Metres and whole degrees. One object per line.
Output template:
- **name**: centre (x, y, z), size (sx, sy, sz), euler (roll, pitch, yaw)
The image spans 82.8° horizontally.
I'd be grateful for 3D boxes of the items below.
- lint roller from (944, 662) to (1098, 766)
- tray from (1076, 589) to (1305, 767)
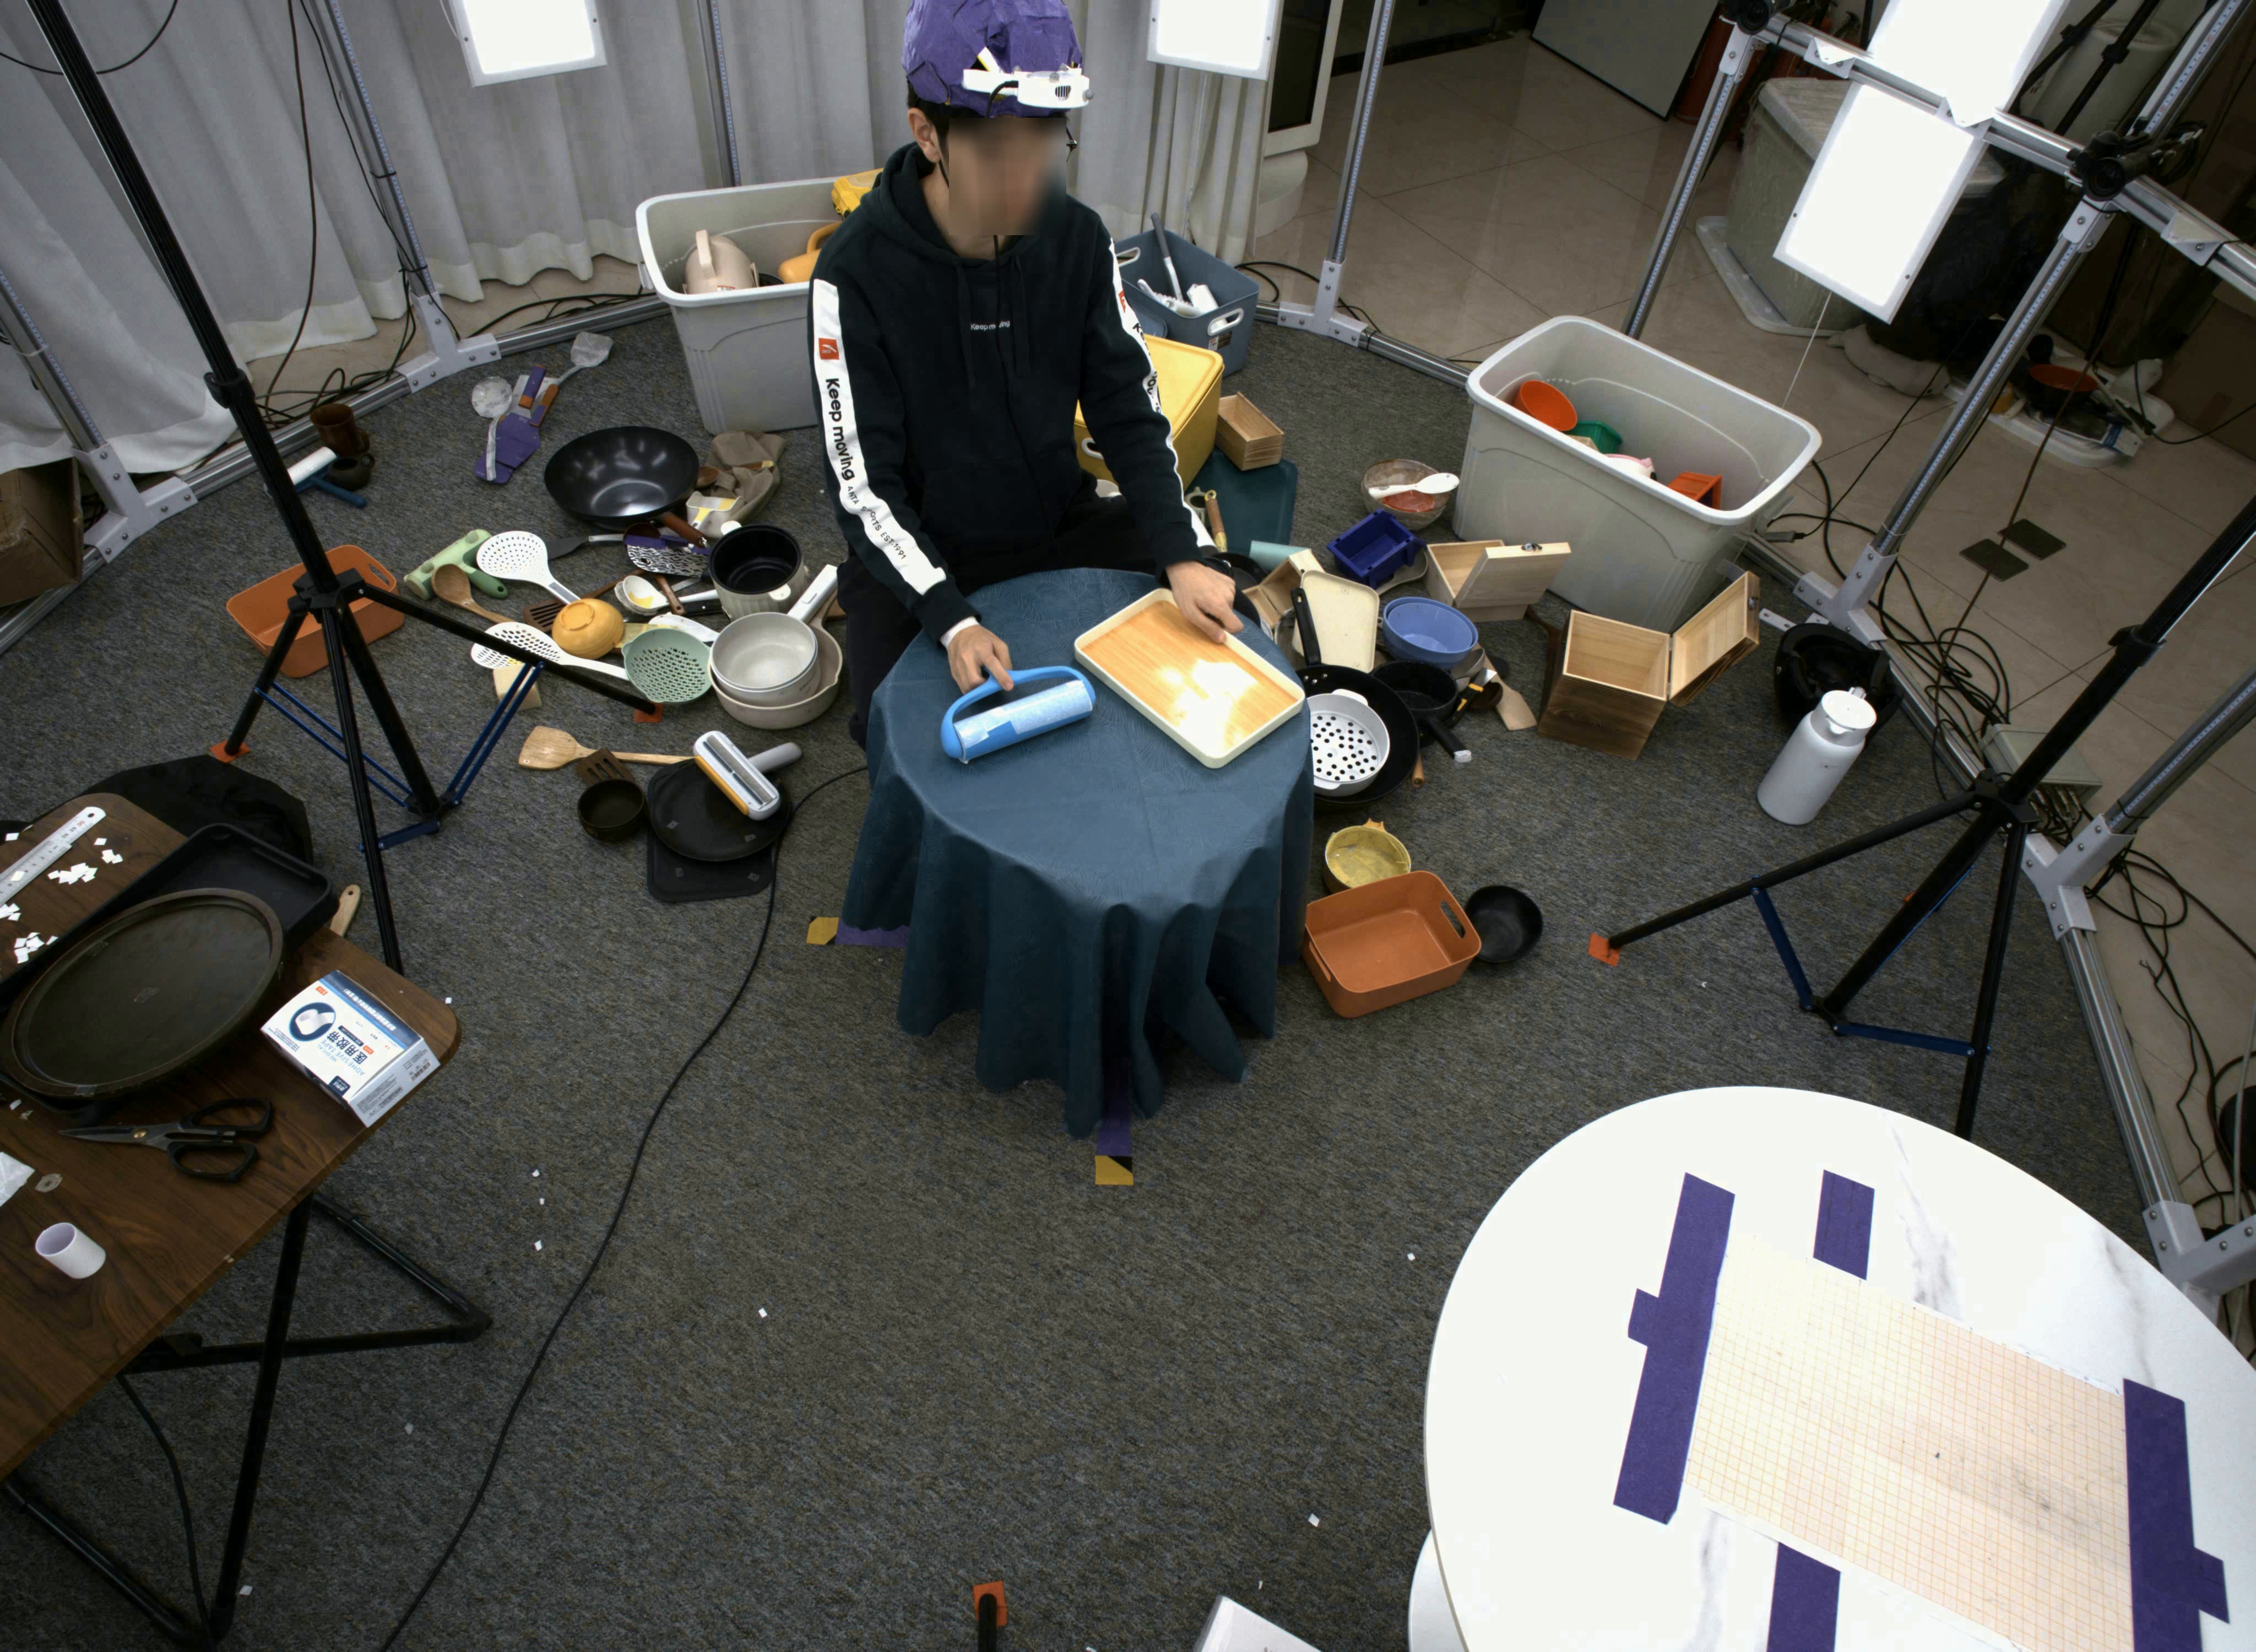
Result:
- **lint roller**: centre (-0.175, -0.182, 1.779), size (0.230, 0.066, 0.184), euler (-27, 57, -22)
- **tray**: centre (0.086, -0.218, 1.838), size (0.193, 0.027, 0.305), euler (-34, 59, -25)
